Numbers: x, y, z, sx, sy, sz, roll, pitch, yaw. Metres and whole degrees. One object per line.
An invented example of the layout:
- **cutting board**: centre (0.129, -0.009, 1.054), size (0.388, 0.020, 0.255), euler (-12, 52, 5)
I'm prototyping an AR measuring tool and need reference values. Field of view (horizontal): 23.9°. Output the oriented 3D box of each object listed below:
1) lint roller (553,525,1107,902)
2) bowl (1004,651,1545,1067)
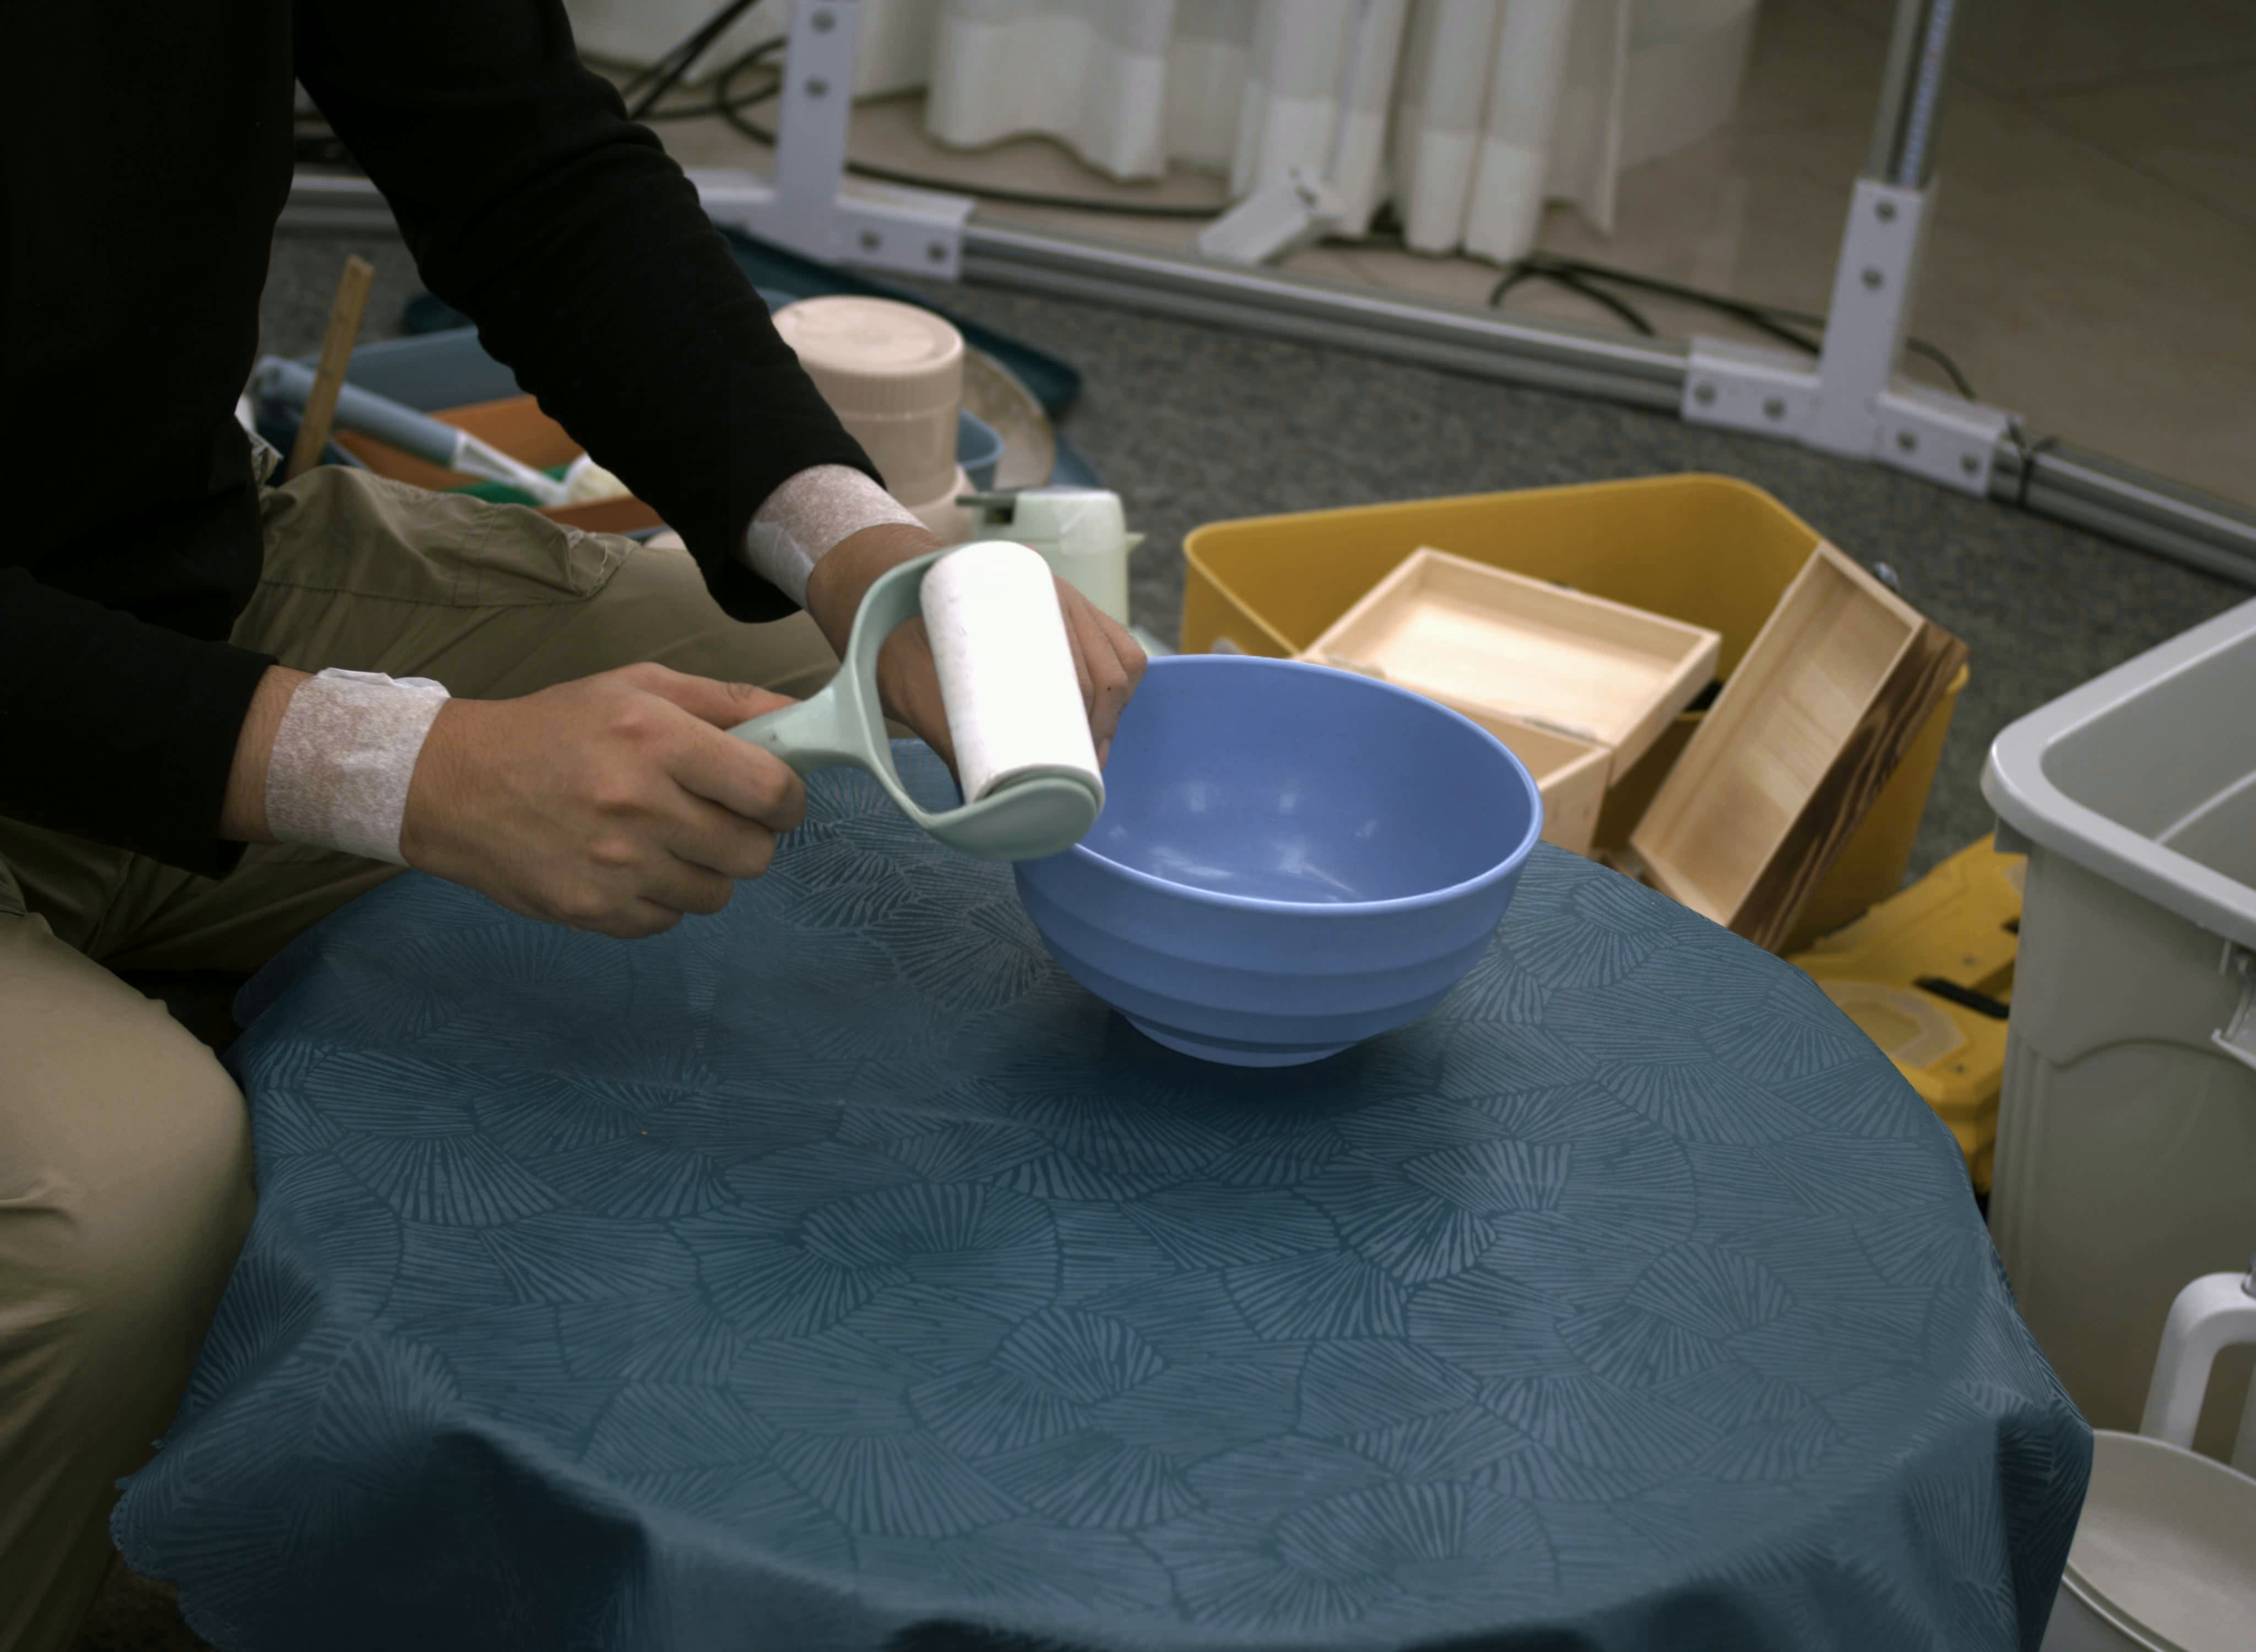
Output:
- **lint roller**: centre (-0.109, -0.026, 1.811), size (0.197, 0.048, 0.118), euler (-19, 53, 7)
- **bowl**: centre (0.046, 0.022, 1.905), size (0.196, 0.095, 0.198), euler (5, 28, -3)
